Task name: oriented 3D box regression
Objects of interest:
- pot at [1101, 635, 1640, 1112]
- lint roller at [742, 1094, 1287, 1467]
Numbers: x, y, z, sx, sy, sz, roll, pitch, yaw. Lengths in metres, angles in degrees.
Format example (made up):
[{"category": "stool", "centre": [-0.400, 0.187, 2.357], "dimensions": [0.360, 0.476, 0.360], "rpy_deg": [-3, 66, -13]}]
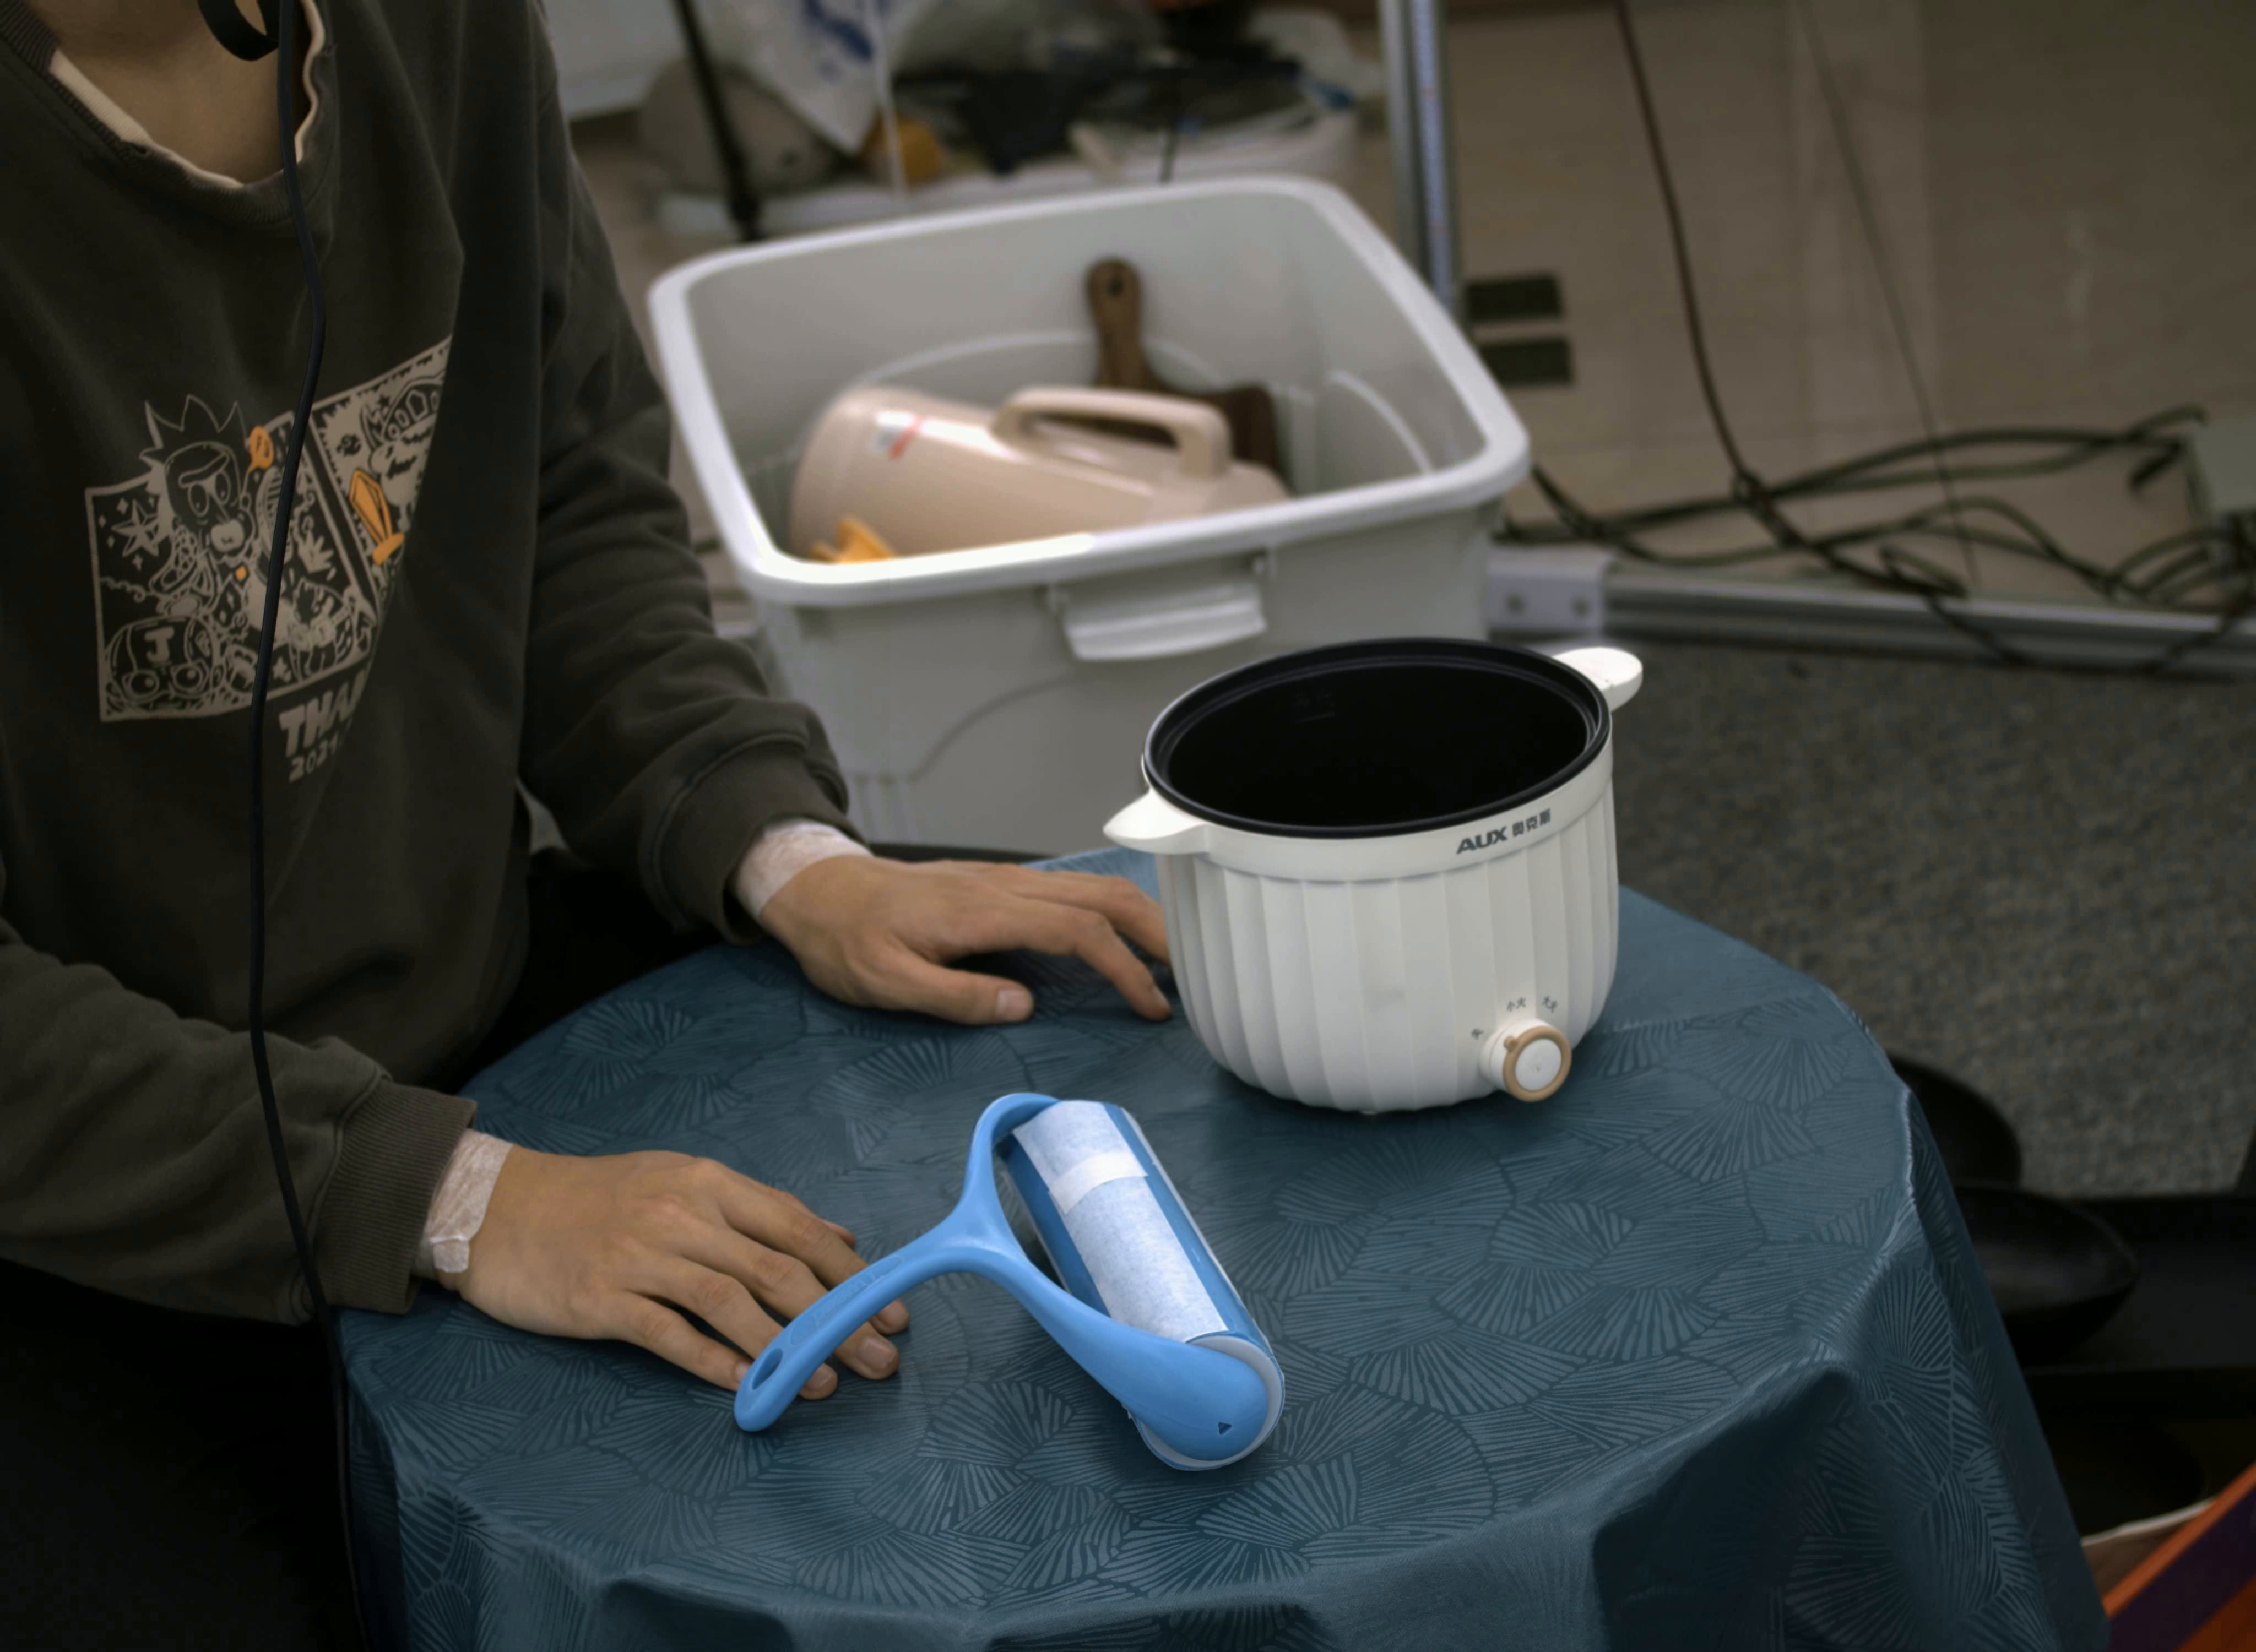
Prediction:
[{"category": "pot", "centre": [0.106, 0.023, 2.201], "dimensions": [0.239, 0.145, 0.188], "rpy_deg": [-20, 26, -24]}, {"category": "lint roller", "centre": [-0.052, 0.171, 2.021], "dimensions": [0.180, 0.069, 0.226], "rpy_deg": [-11, 27, -13]}]
